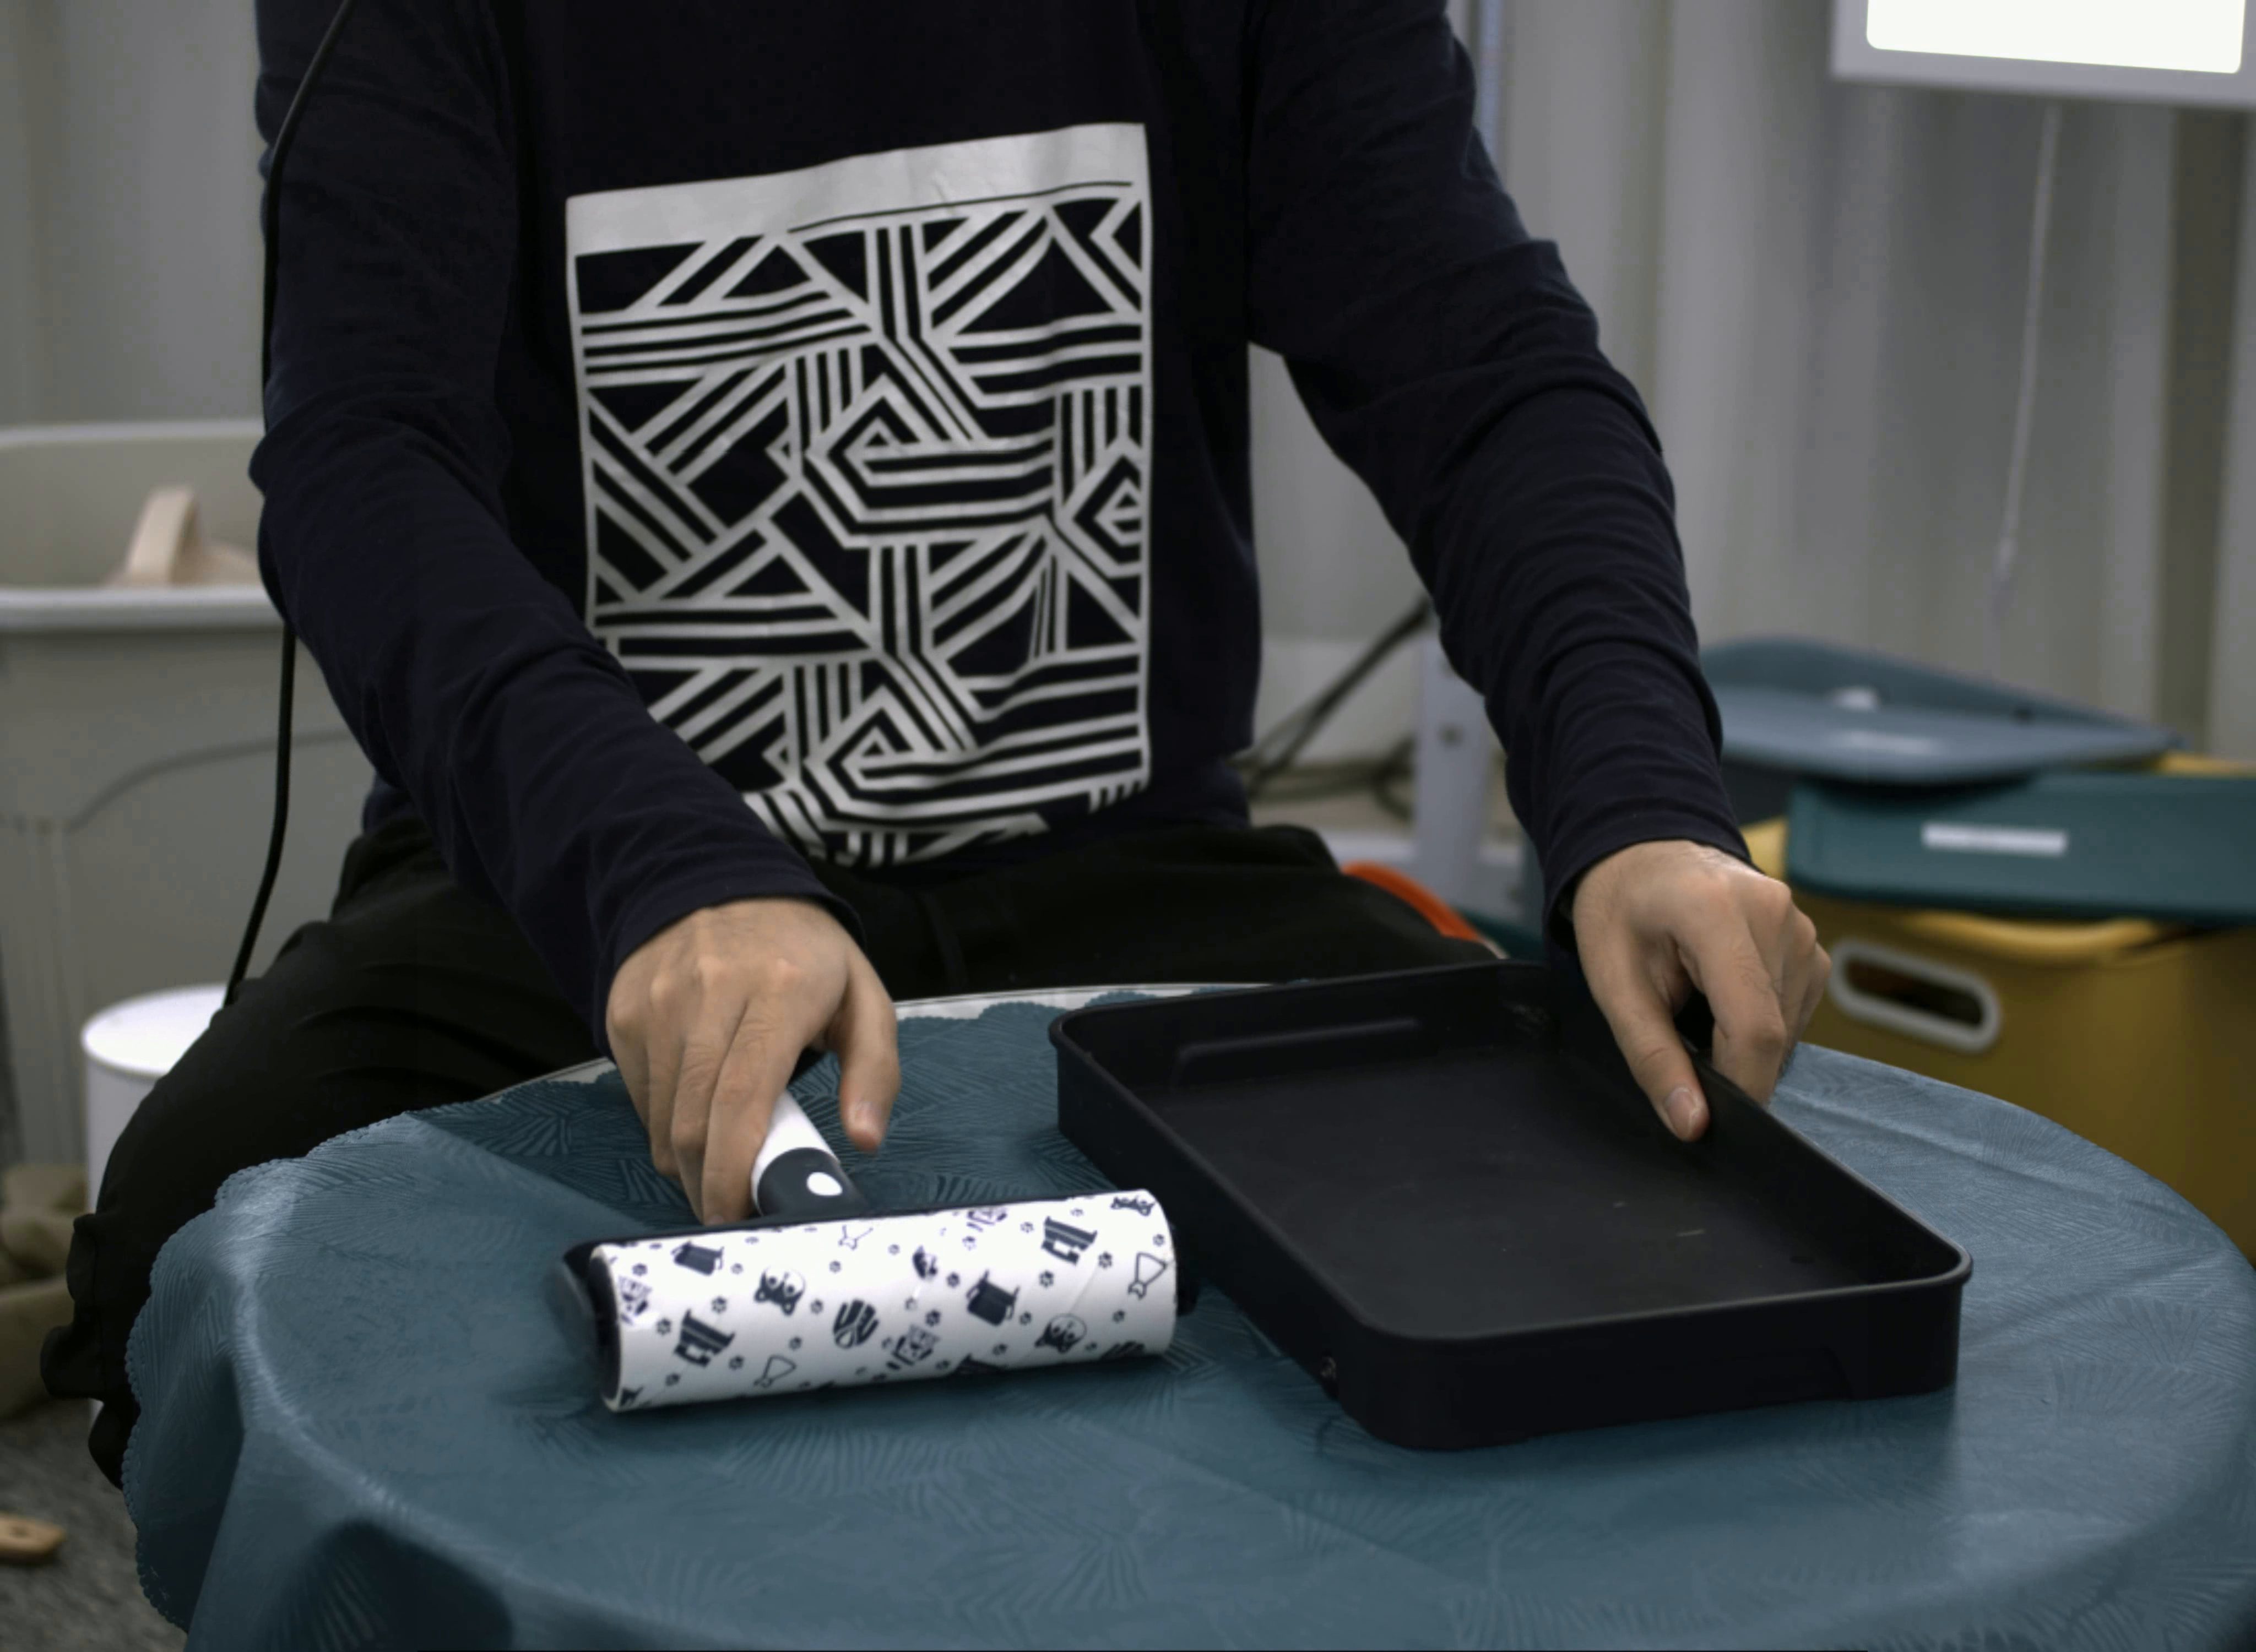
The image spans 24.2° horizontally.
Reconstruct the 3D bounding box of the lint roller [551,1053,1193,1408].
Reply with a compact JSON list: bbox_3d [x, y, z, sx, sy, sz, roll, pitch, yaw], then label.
[{"bbox_3d":[-0.101,0.104,1.554,0.176,0.051,0.244,-6,17,-18],"label":"lint roller"}]

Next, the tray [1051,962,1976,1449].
[{"bbox_3d":[0.106,0.107,1.579,0.185,0.037,0.314,-5,16,-18],"label":"tray"}]
